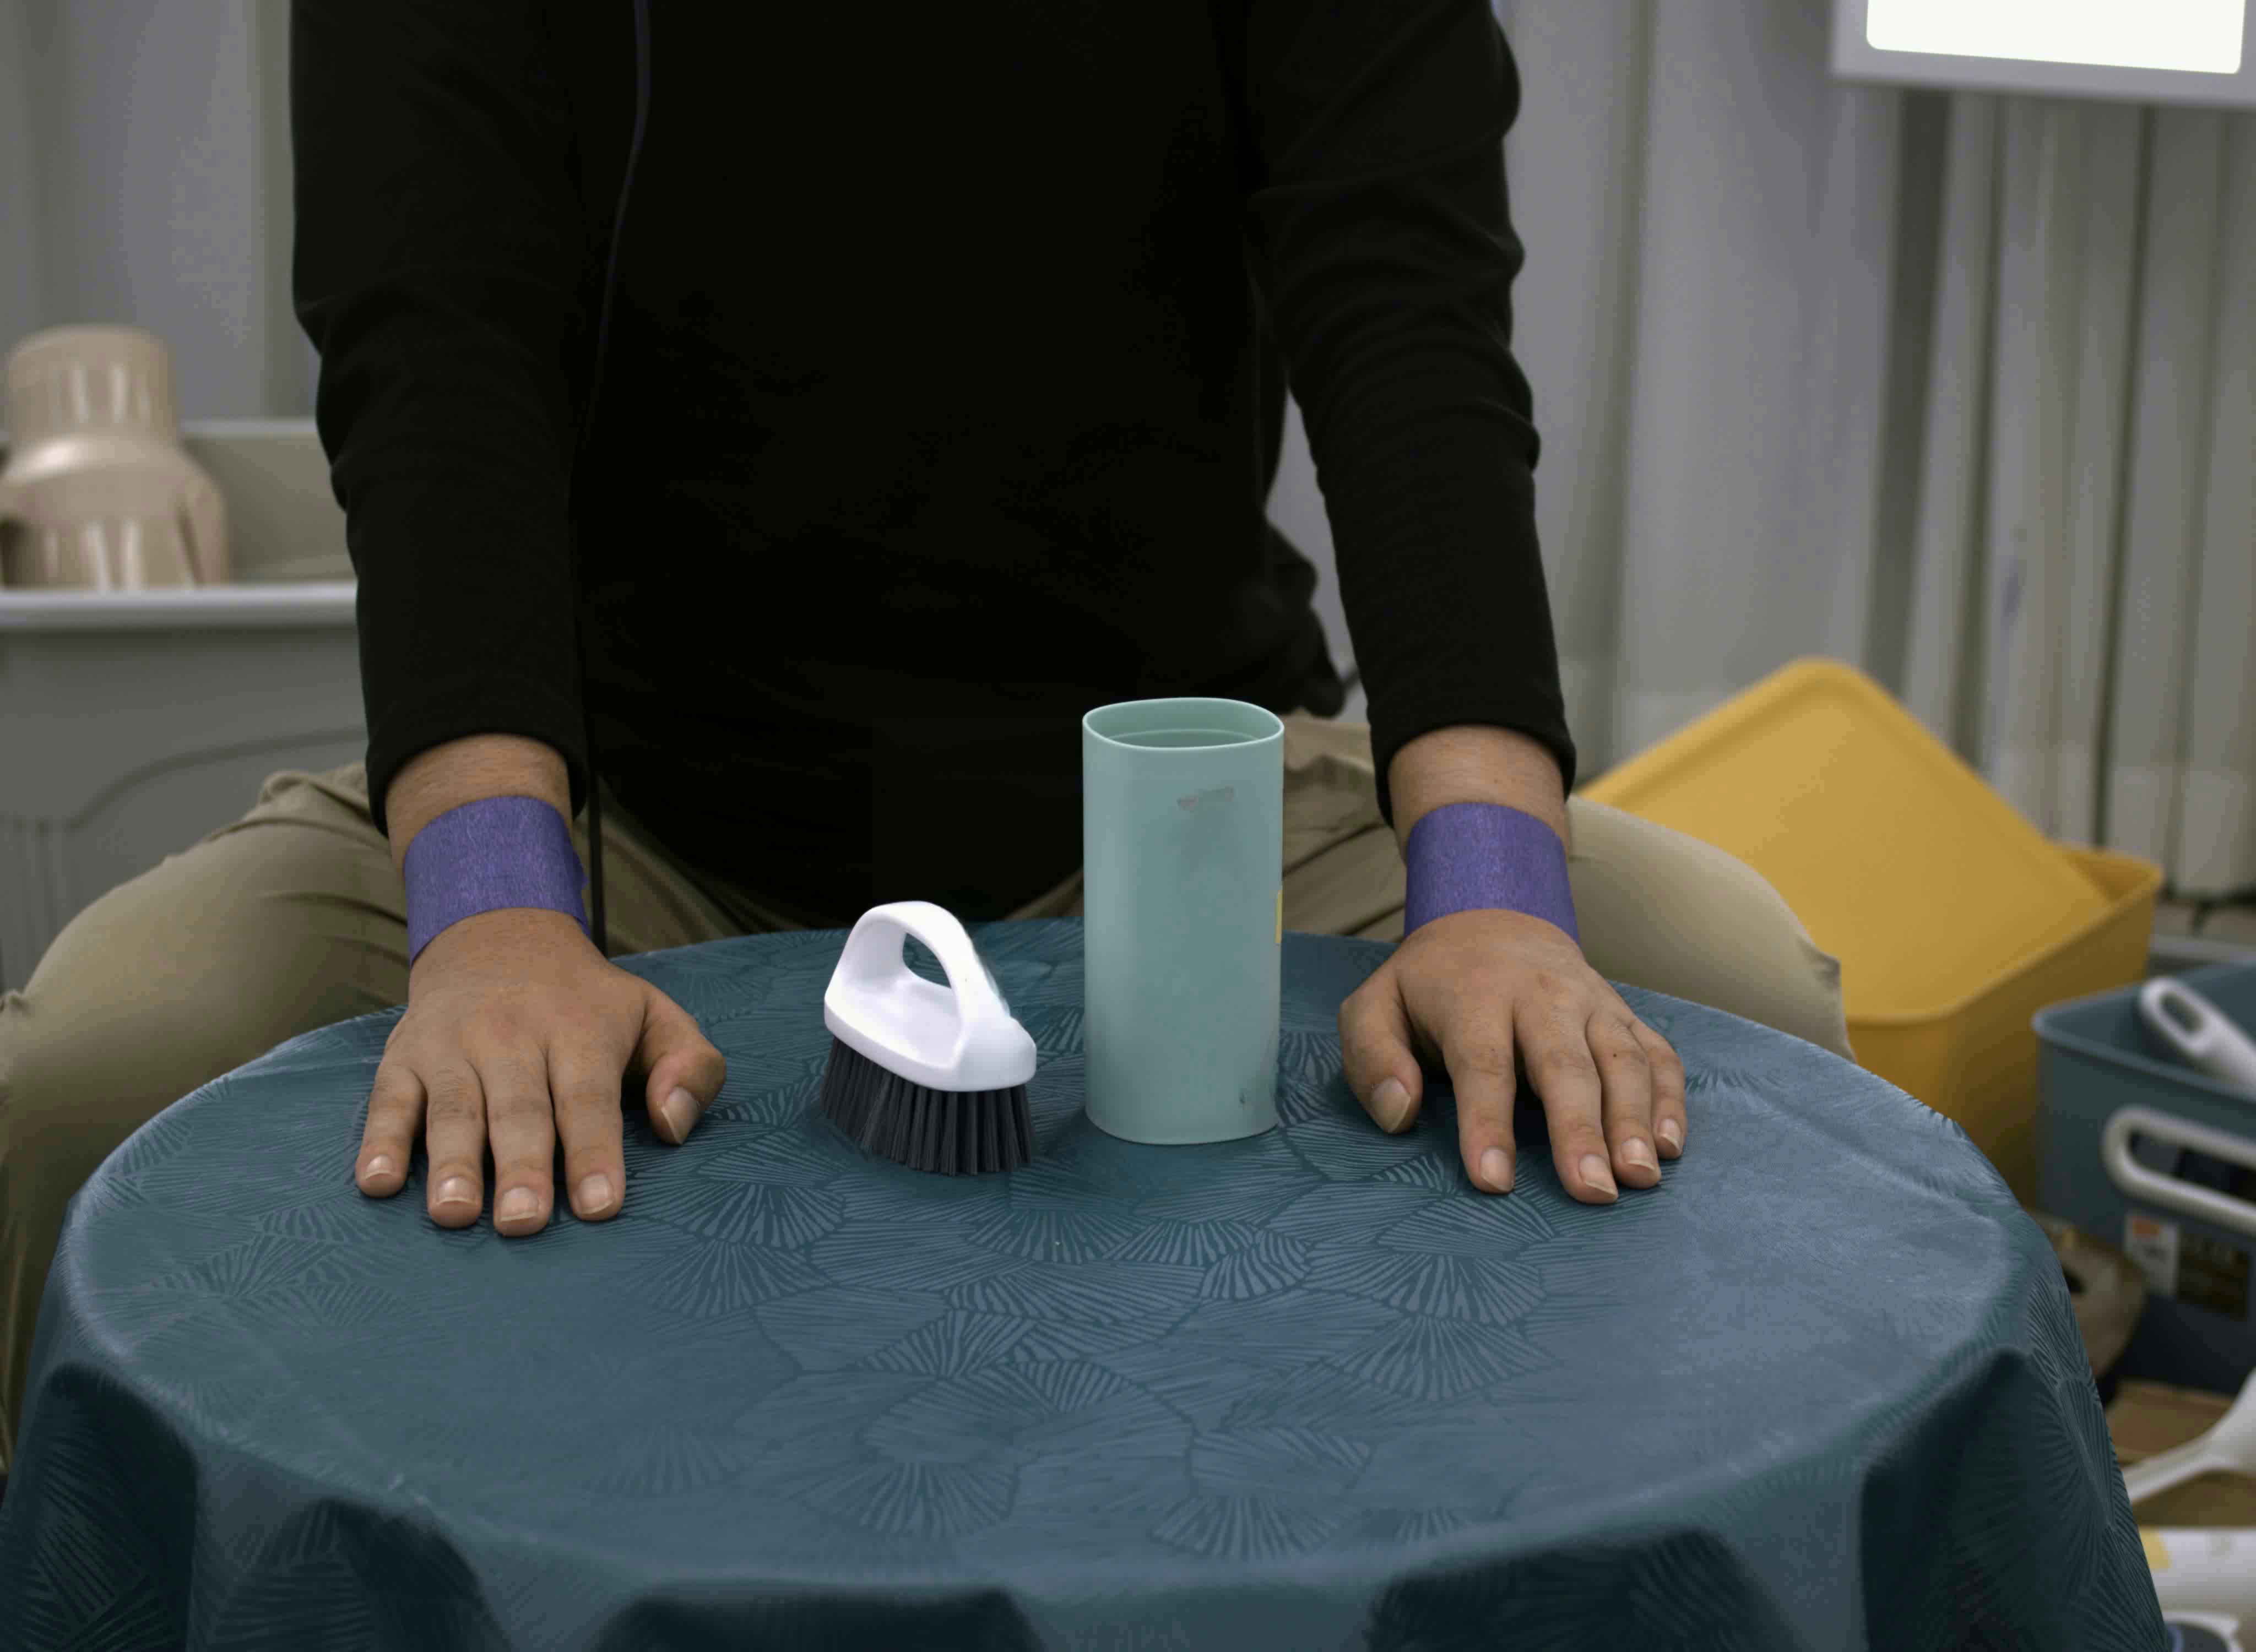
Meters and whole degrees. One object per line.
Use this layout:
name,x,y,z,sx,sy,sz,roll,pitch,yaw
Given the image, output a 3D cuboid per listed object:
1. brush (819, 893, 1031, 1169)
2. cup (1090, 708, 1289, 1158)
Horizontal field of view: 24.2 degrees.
brush,-0.065,0.060,1.666,0.050,0.073,0.098,-6,19,-26
cup,0.018,0.033,1.676,0.066,0.133,0.066,0,17,0
